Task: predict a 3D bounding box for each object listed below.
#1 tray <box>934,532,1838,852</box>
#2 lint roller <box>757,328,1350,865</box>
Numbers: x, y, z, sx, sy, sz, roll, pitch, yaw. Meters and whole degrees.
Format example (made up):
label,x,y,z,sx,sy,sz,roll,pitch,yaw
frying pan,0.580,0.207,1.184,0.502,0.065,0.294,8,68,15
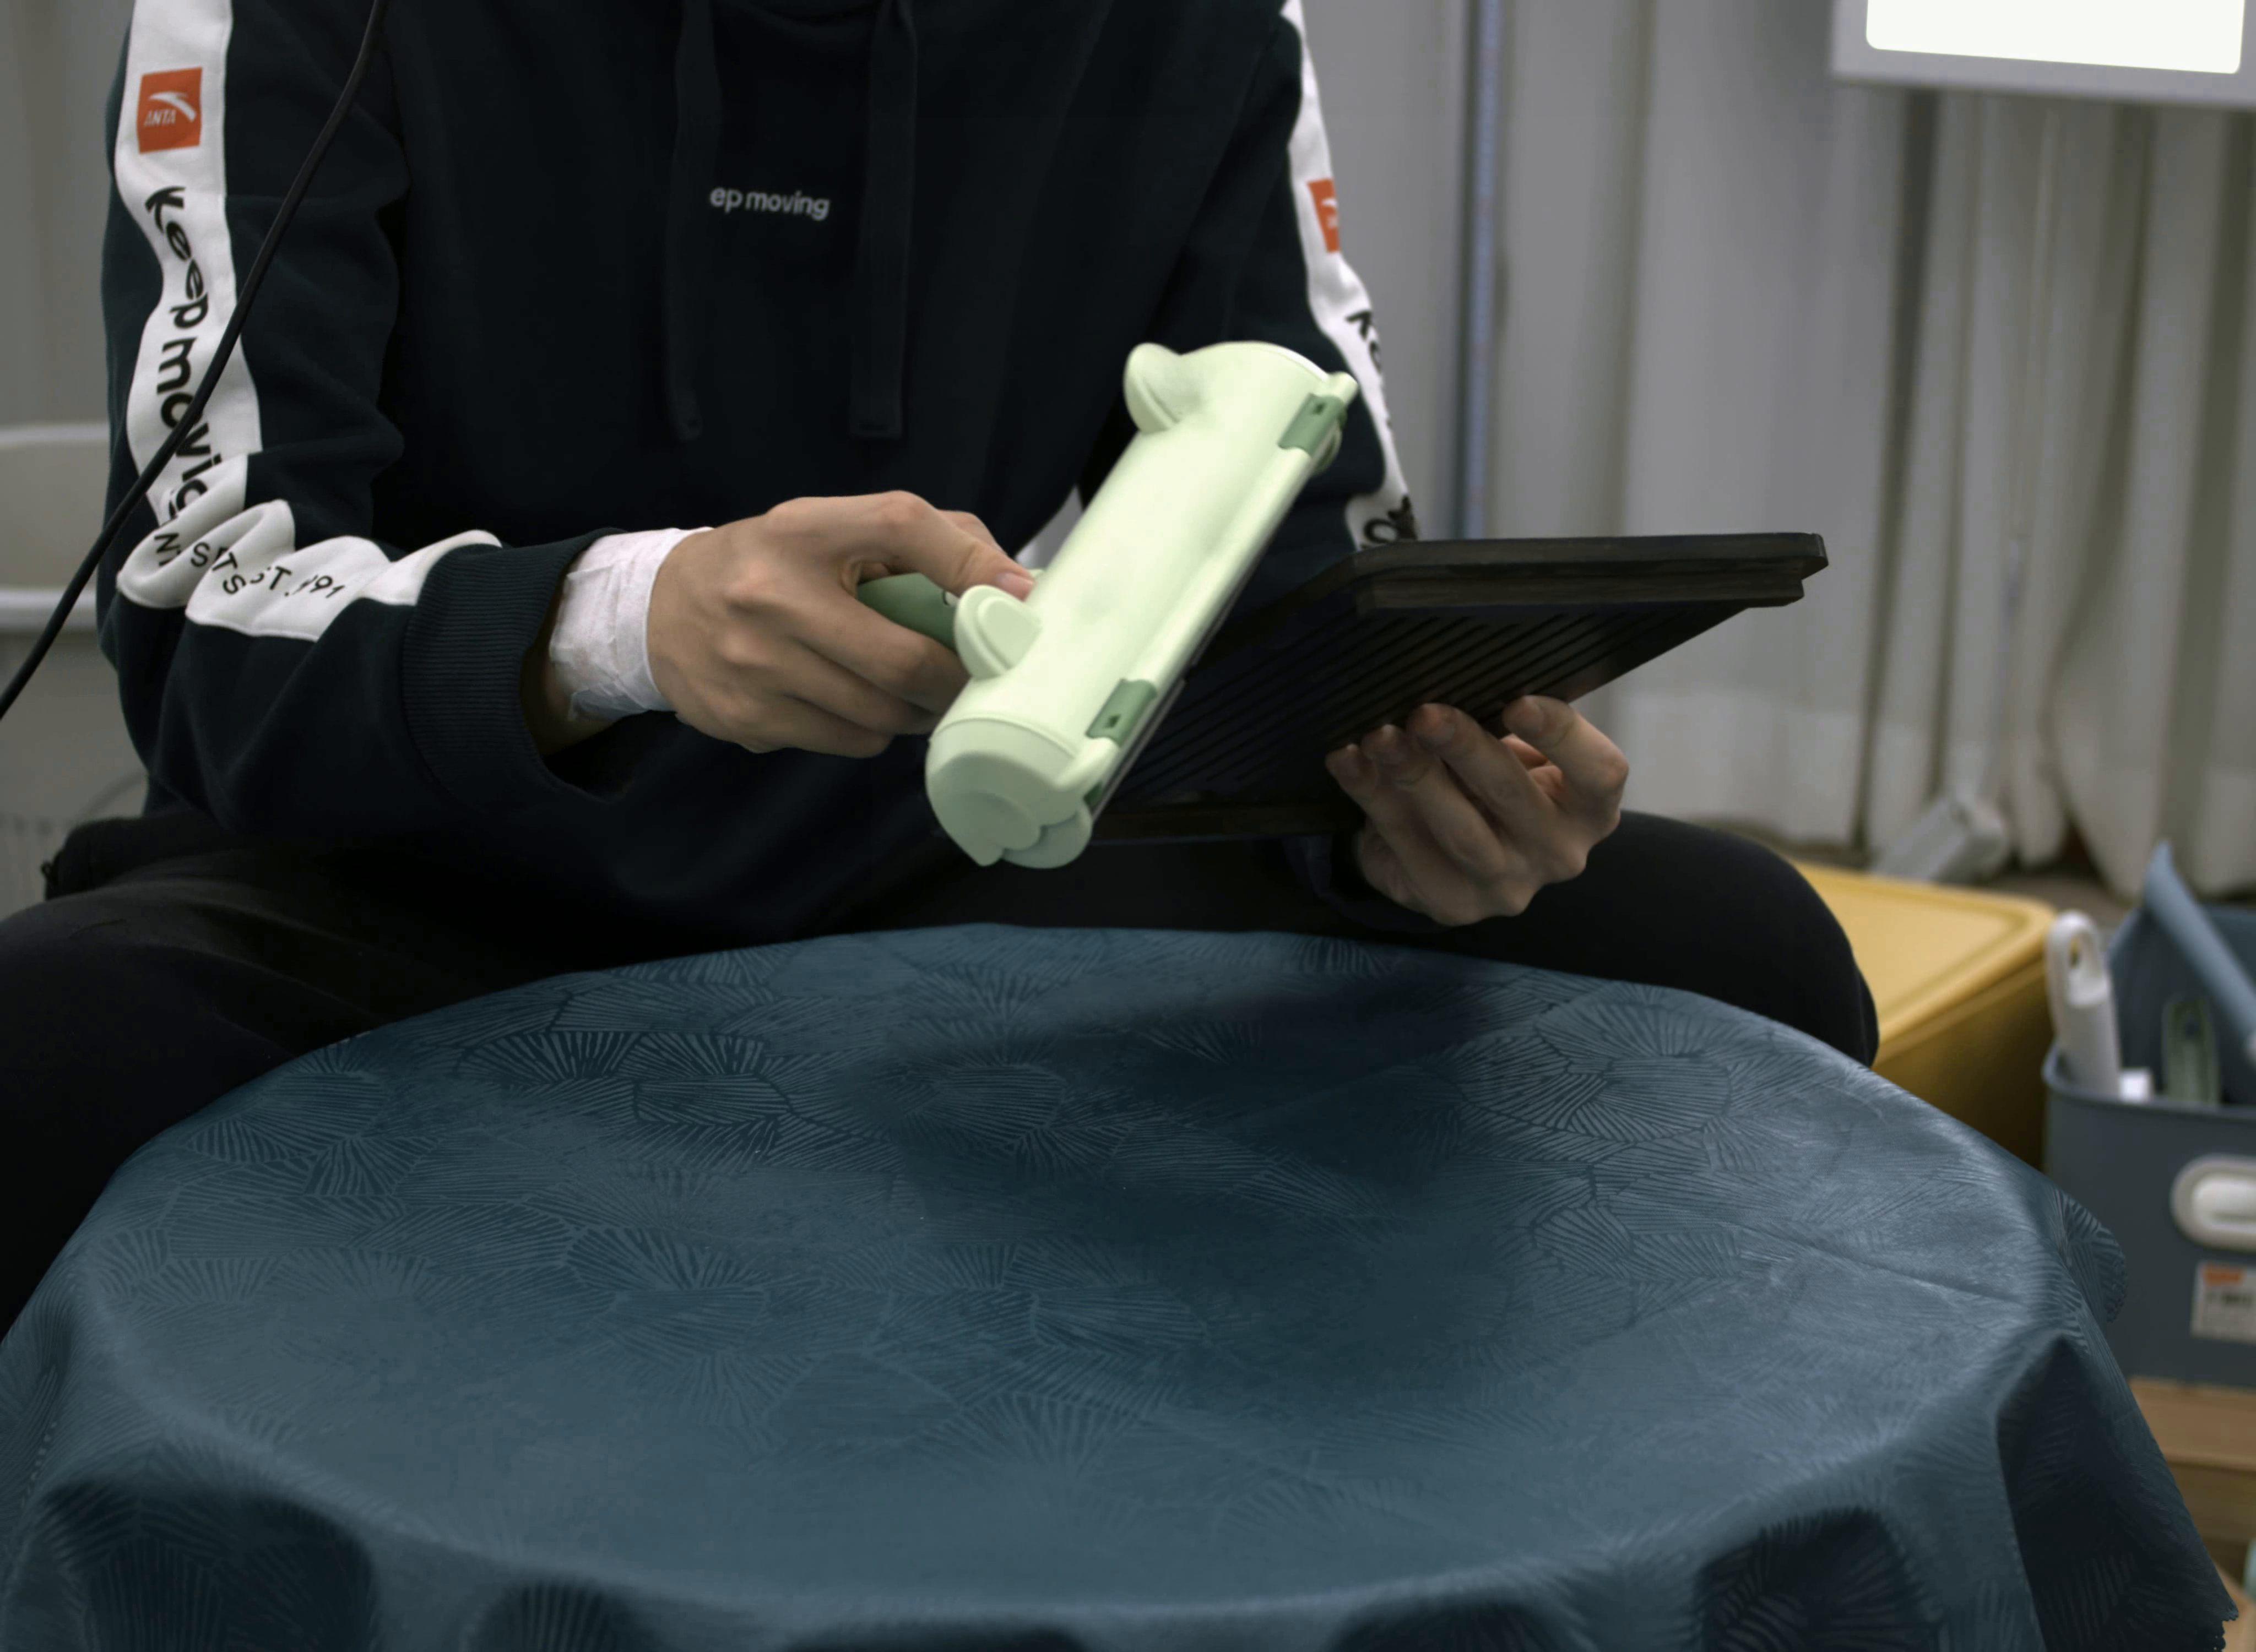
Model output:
label,x,y,z,sx,sy,sz,roll,pitch,yaw
tray,0.076,-0.038,1.670,0.171,0.018,0.305,-3,-15,-30
lint roller,-0.047,-0.076,1.568,0.181,0.083,0.198,2,43,32
